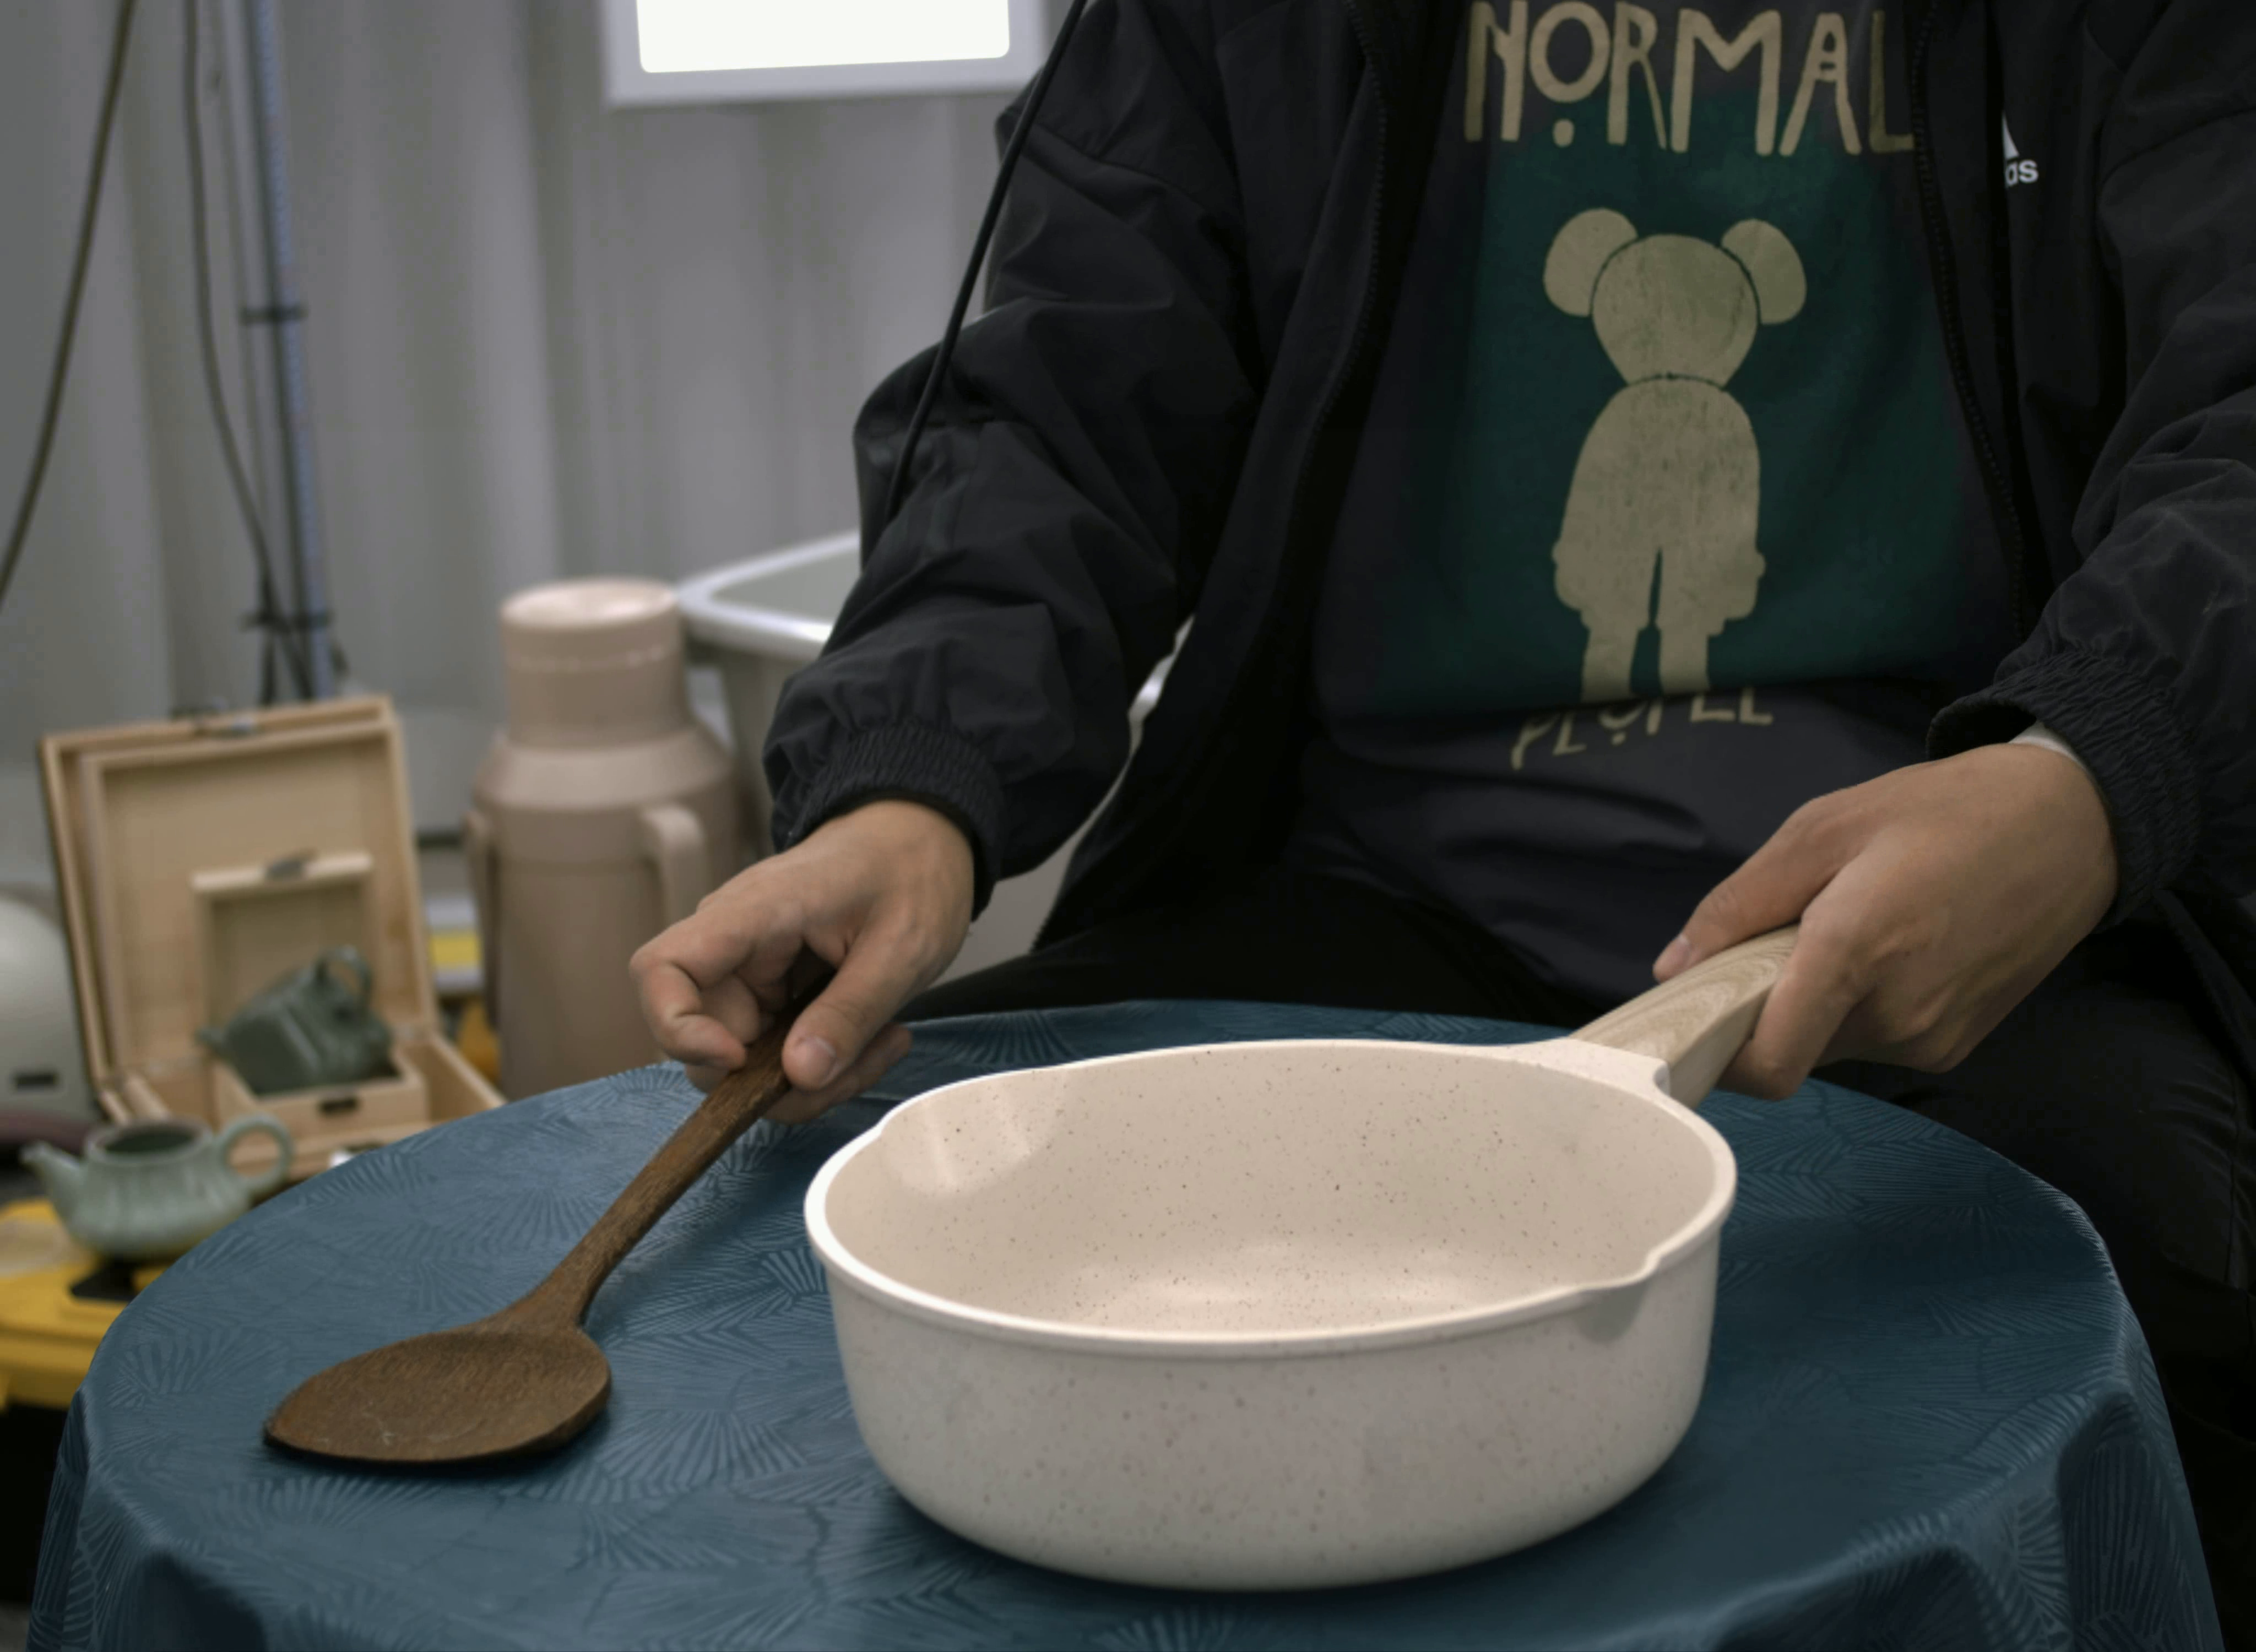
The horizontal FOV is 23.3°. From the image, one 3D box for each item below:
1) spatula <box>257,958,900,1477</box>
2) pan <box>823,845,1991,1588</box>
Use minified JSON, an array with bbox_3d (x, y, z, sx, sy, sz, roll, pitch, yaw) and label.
[{"bbox_3d":[-0.146,0.112,1.678,0.096,0.015,0.388,1,21,19],"label":"spatula"},{"bbox_3d":[0.109,0.104,1.534,0.434,0.101,0.265,-18,19,-42],"label":"pan"}]
